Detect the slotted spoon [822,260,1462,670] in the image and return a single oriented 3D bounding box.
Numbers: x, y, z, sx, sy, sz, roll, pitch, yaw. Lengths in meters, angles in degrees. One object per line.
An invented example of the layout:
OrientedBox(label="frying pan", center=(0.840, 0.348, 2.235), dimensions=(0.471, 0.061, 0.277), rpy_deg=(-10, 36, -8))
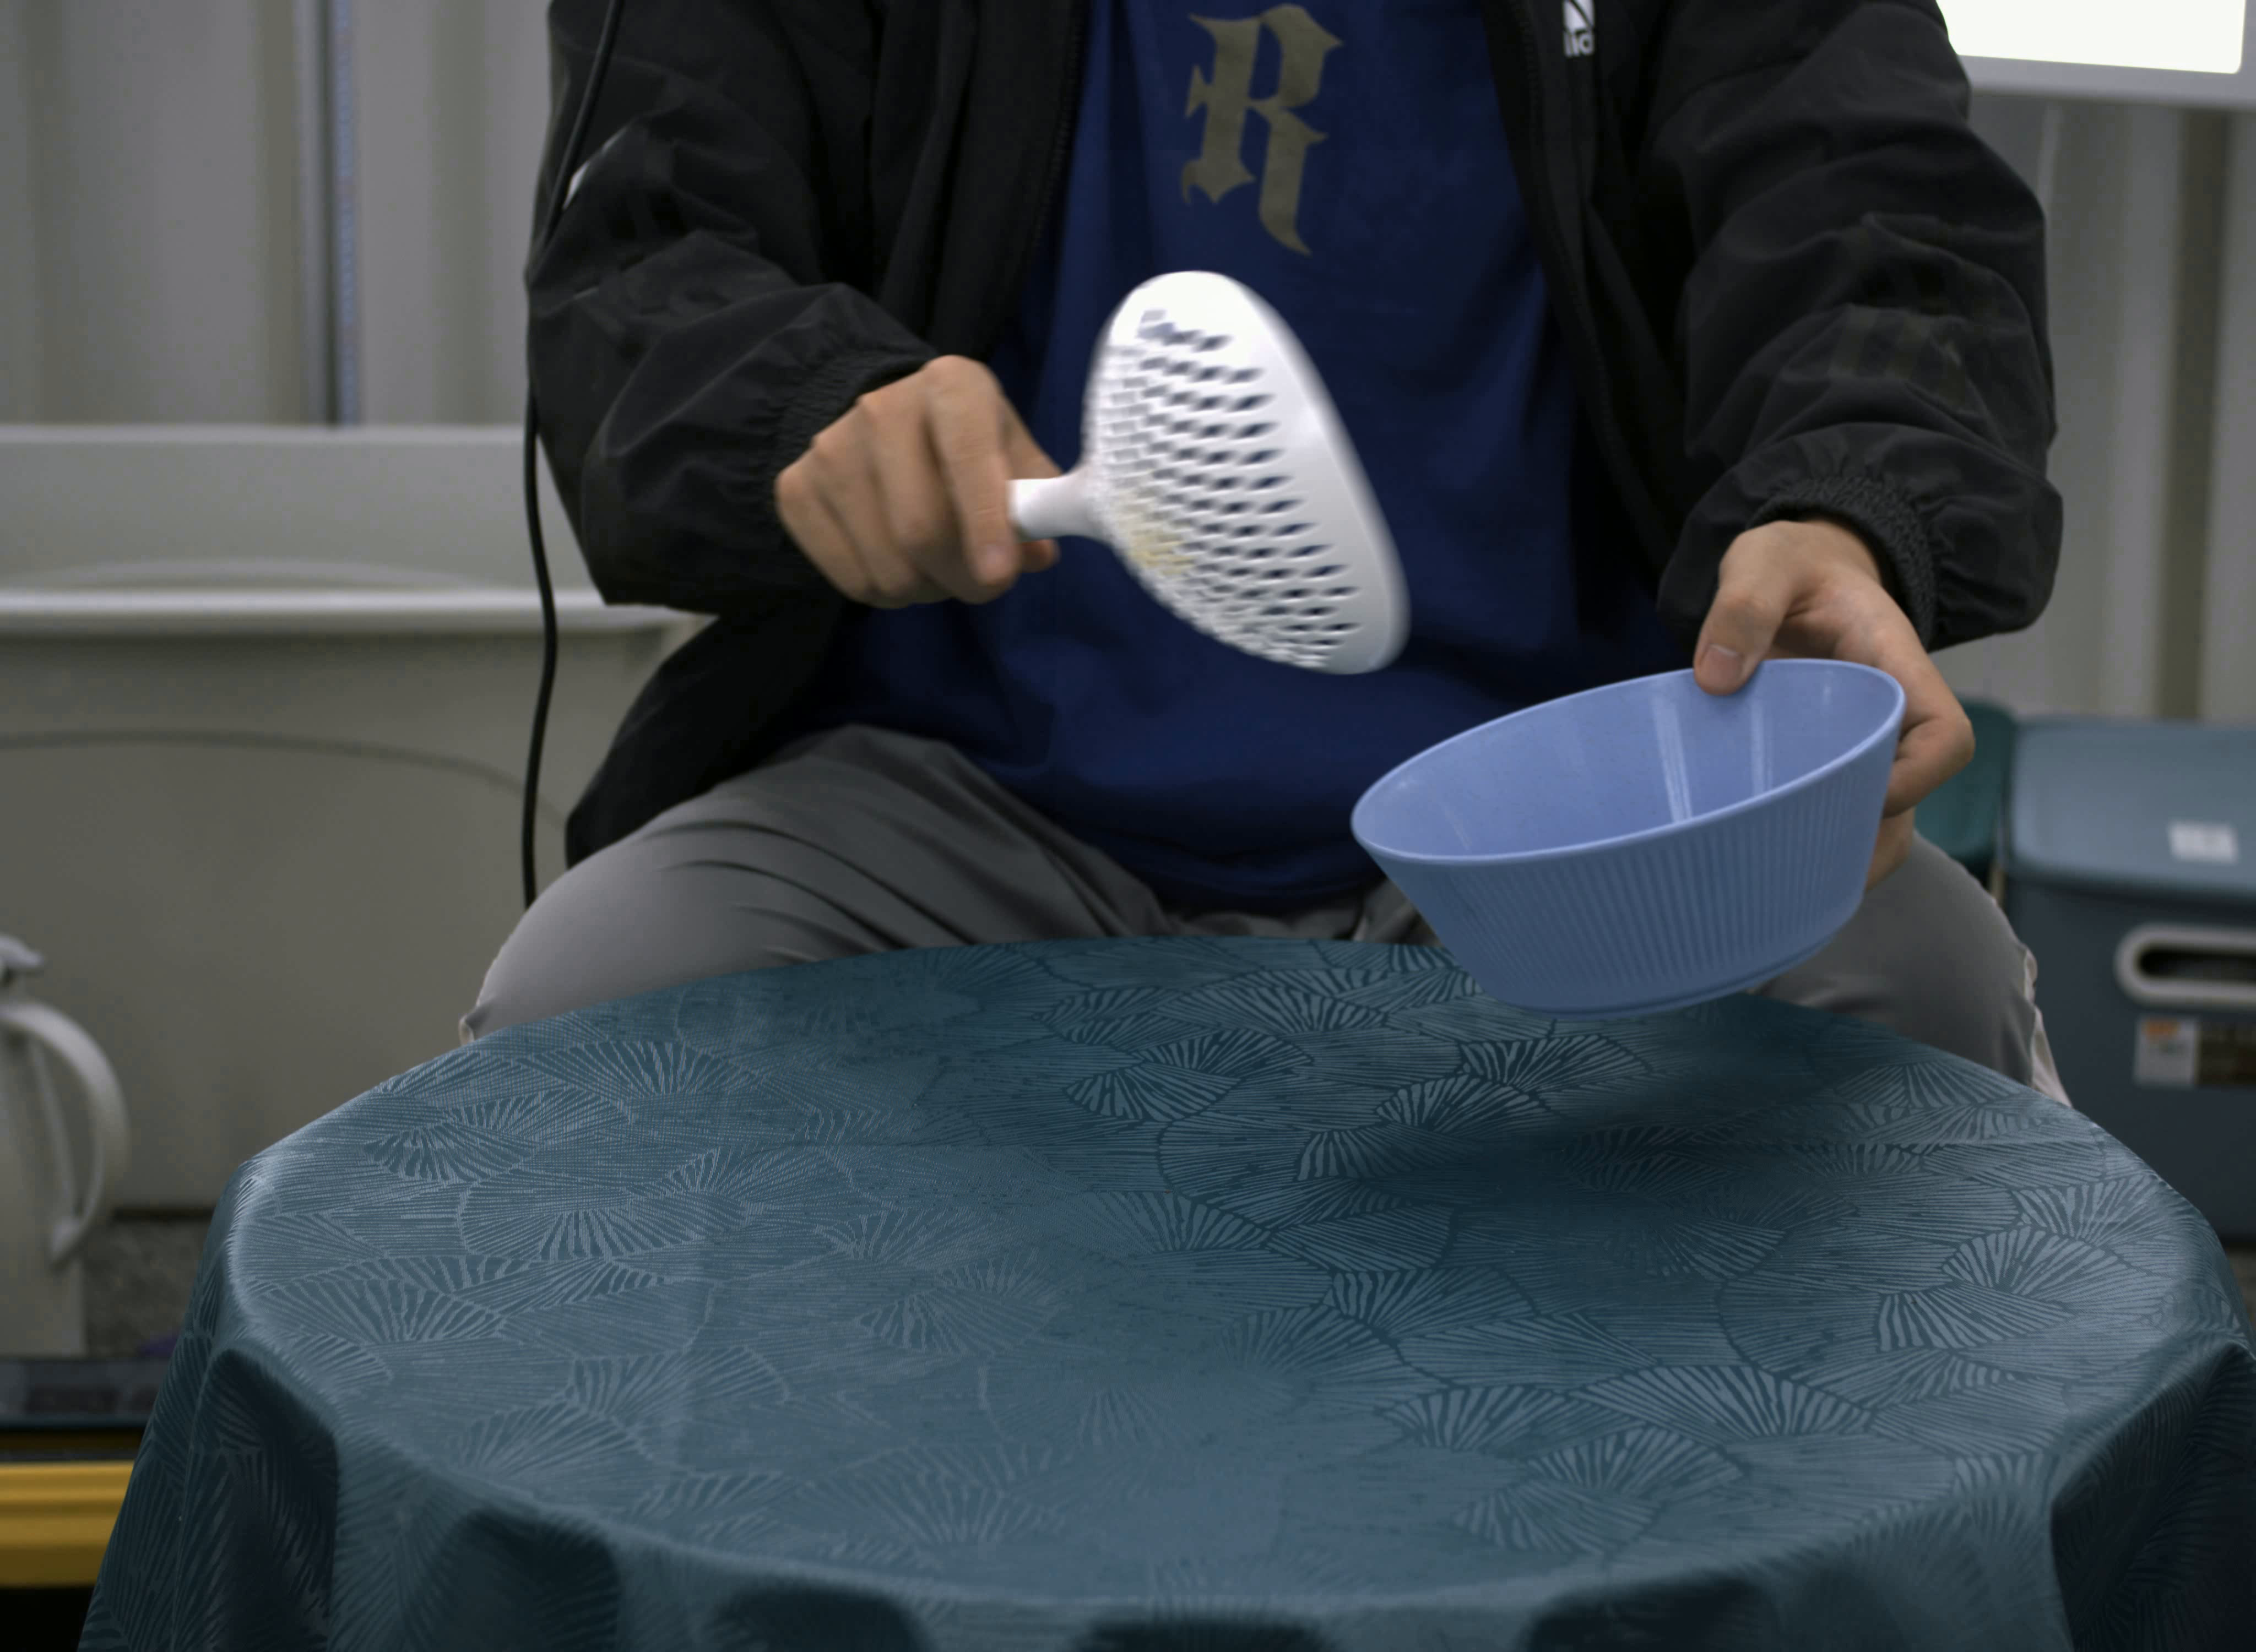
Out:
OrientedBox(label="slotted spoon", center=(-0.009, -0.102, 1.679), dimensions=(0.050, 0.138, 0.345), rpy_deg=(-32, 15, -21))

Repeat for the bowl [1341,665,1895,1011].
OrientedBox(label="bowl", center=(0.158, 0.007, 1.640), dimensions=(0.175, 0.071, 0.175), rpy_deg=(-13, 14, 4))
